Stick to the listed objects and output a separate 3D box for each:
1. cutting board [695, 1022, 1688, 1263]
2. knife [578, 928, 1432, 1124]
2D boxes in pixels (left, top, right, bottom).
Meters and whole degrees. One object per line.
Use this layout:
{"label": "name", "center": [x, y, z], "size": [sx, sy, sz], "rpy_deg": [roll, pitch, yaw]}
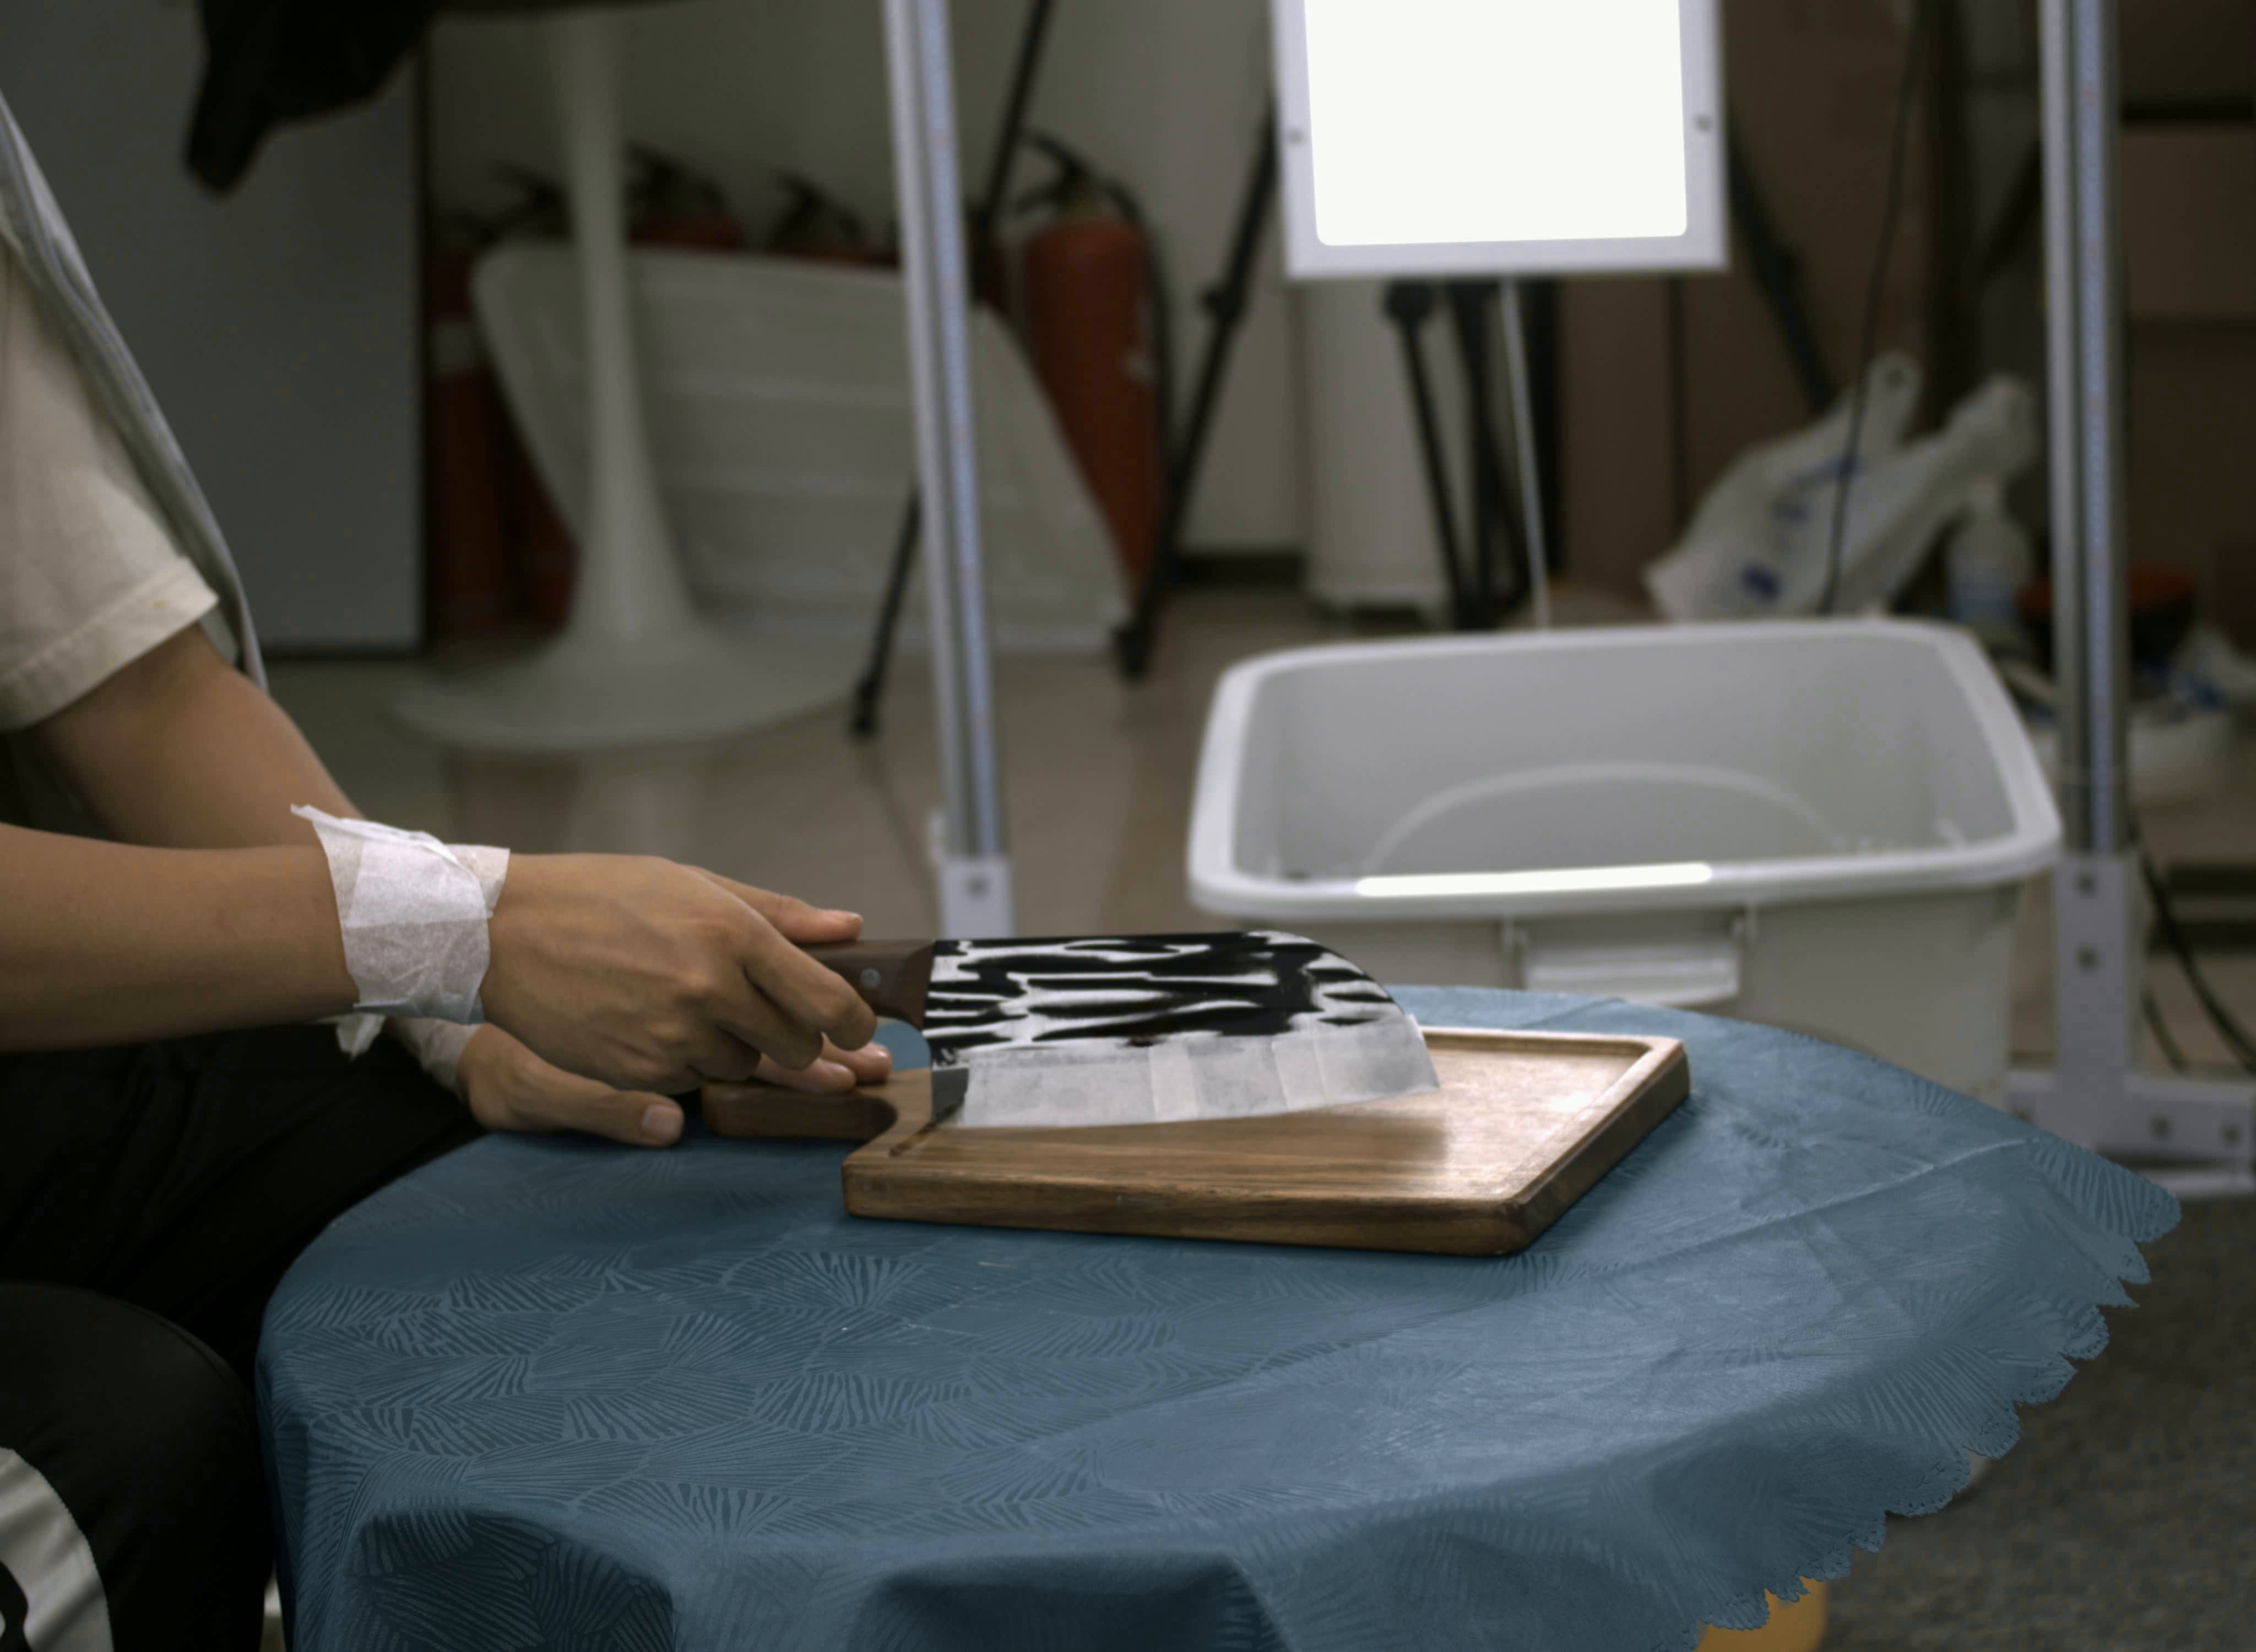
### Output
{"label": "cutting board", "center": [0.006, 0.106, 1.947], "size": [0.358, 0.023, 0.197], "rpy_deg": [1, 16, 25]}
{"label": "knife", "center": [-0.043, 0.070, 1.924], "size": [0.300, 0.068, 0.024], "rpy_deg": [-1, 5, 5]}
